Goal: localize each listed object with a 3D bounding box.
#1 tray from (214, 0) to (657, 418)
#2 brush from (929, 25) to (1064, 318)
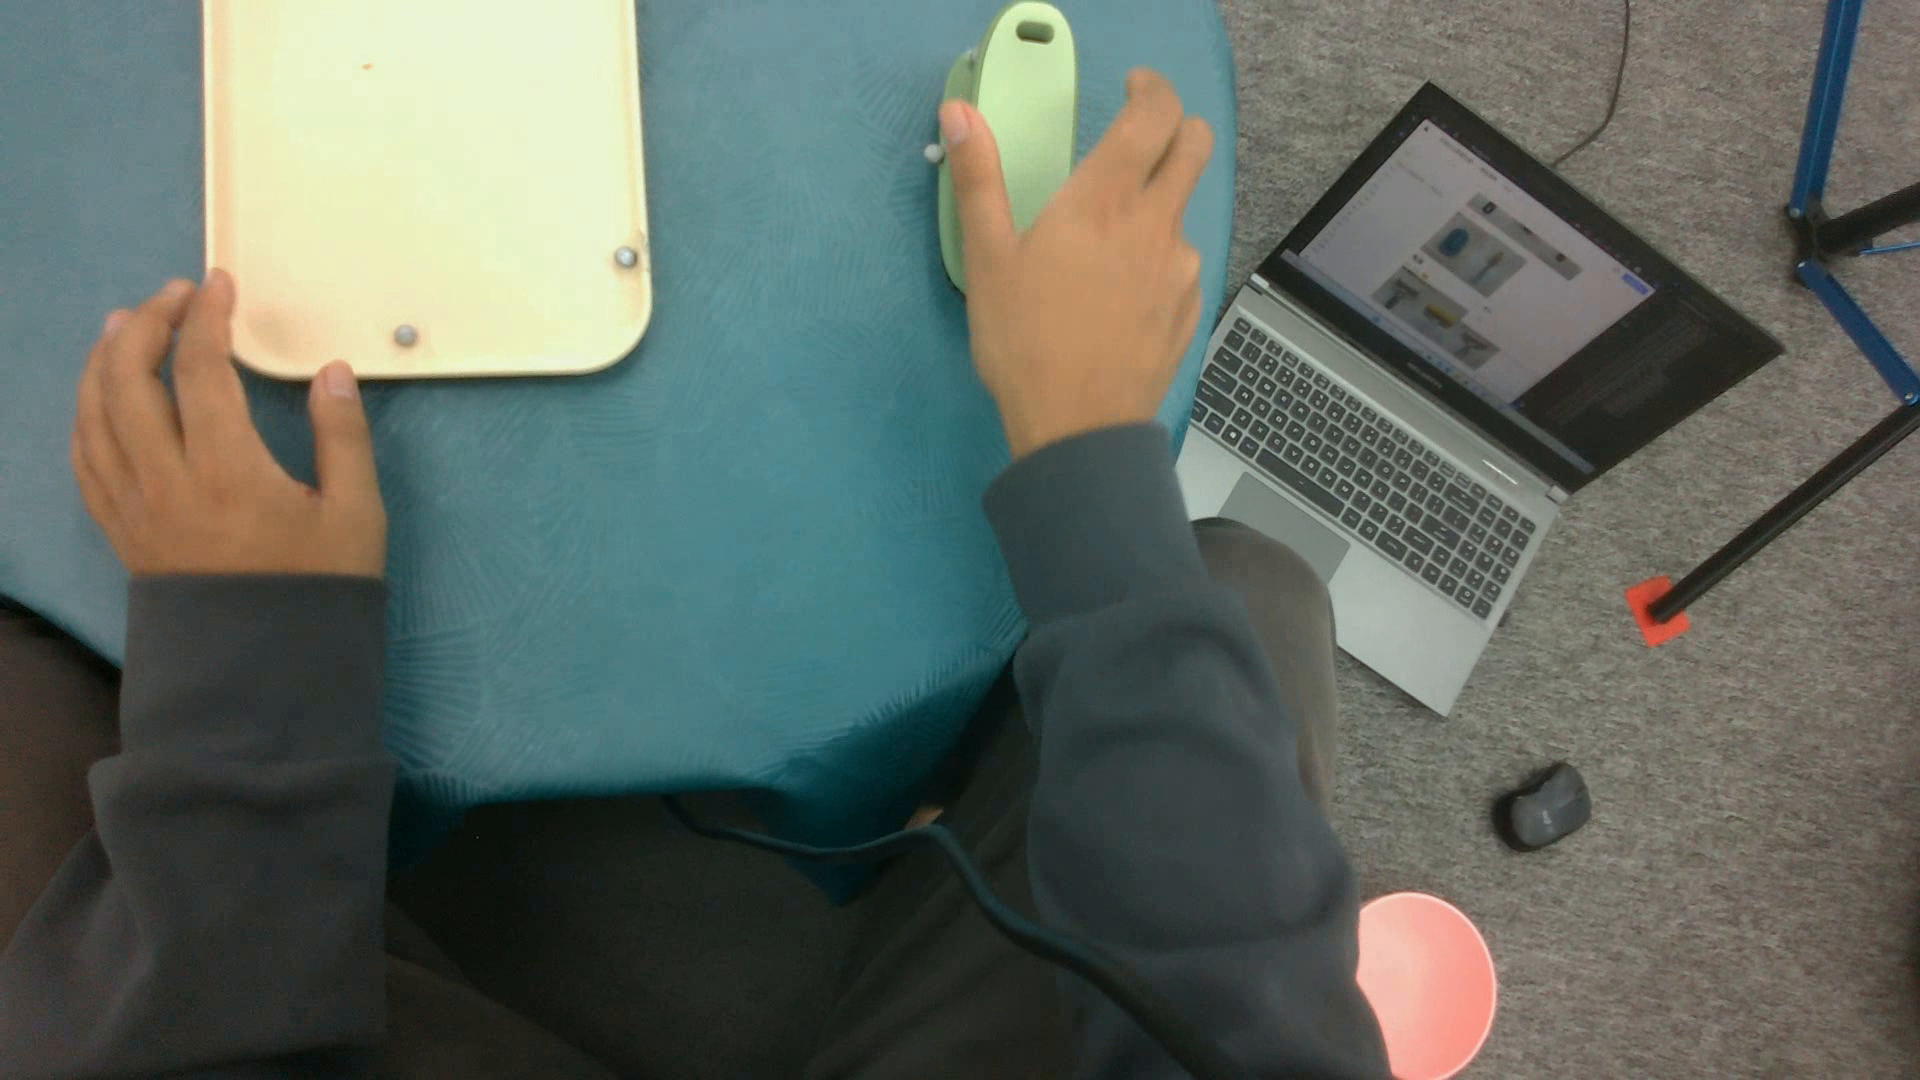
[{"bbox_3d":[-0.226,-0.172,0.596,0.171,0.017,0.240,-5,82,-12],"label":"tray"},{"bbox_3d":[0.016,-0.162,0.625,0.059,0.076,0.123,-1,95,-11],"label":"brush"}]
